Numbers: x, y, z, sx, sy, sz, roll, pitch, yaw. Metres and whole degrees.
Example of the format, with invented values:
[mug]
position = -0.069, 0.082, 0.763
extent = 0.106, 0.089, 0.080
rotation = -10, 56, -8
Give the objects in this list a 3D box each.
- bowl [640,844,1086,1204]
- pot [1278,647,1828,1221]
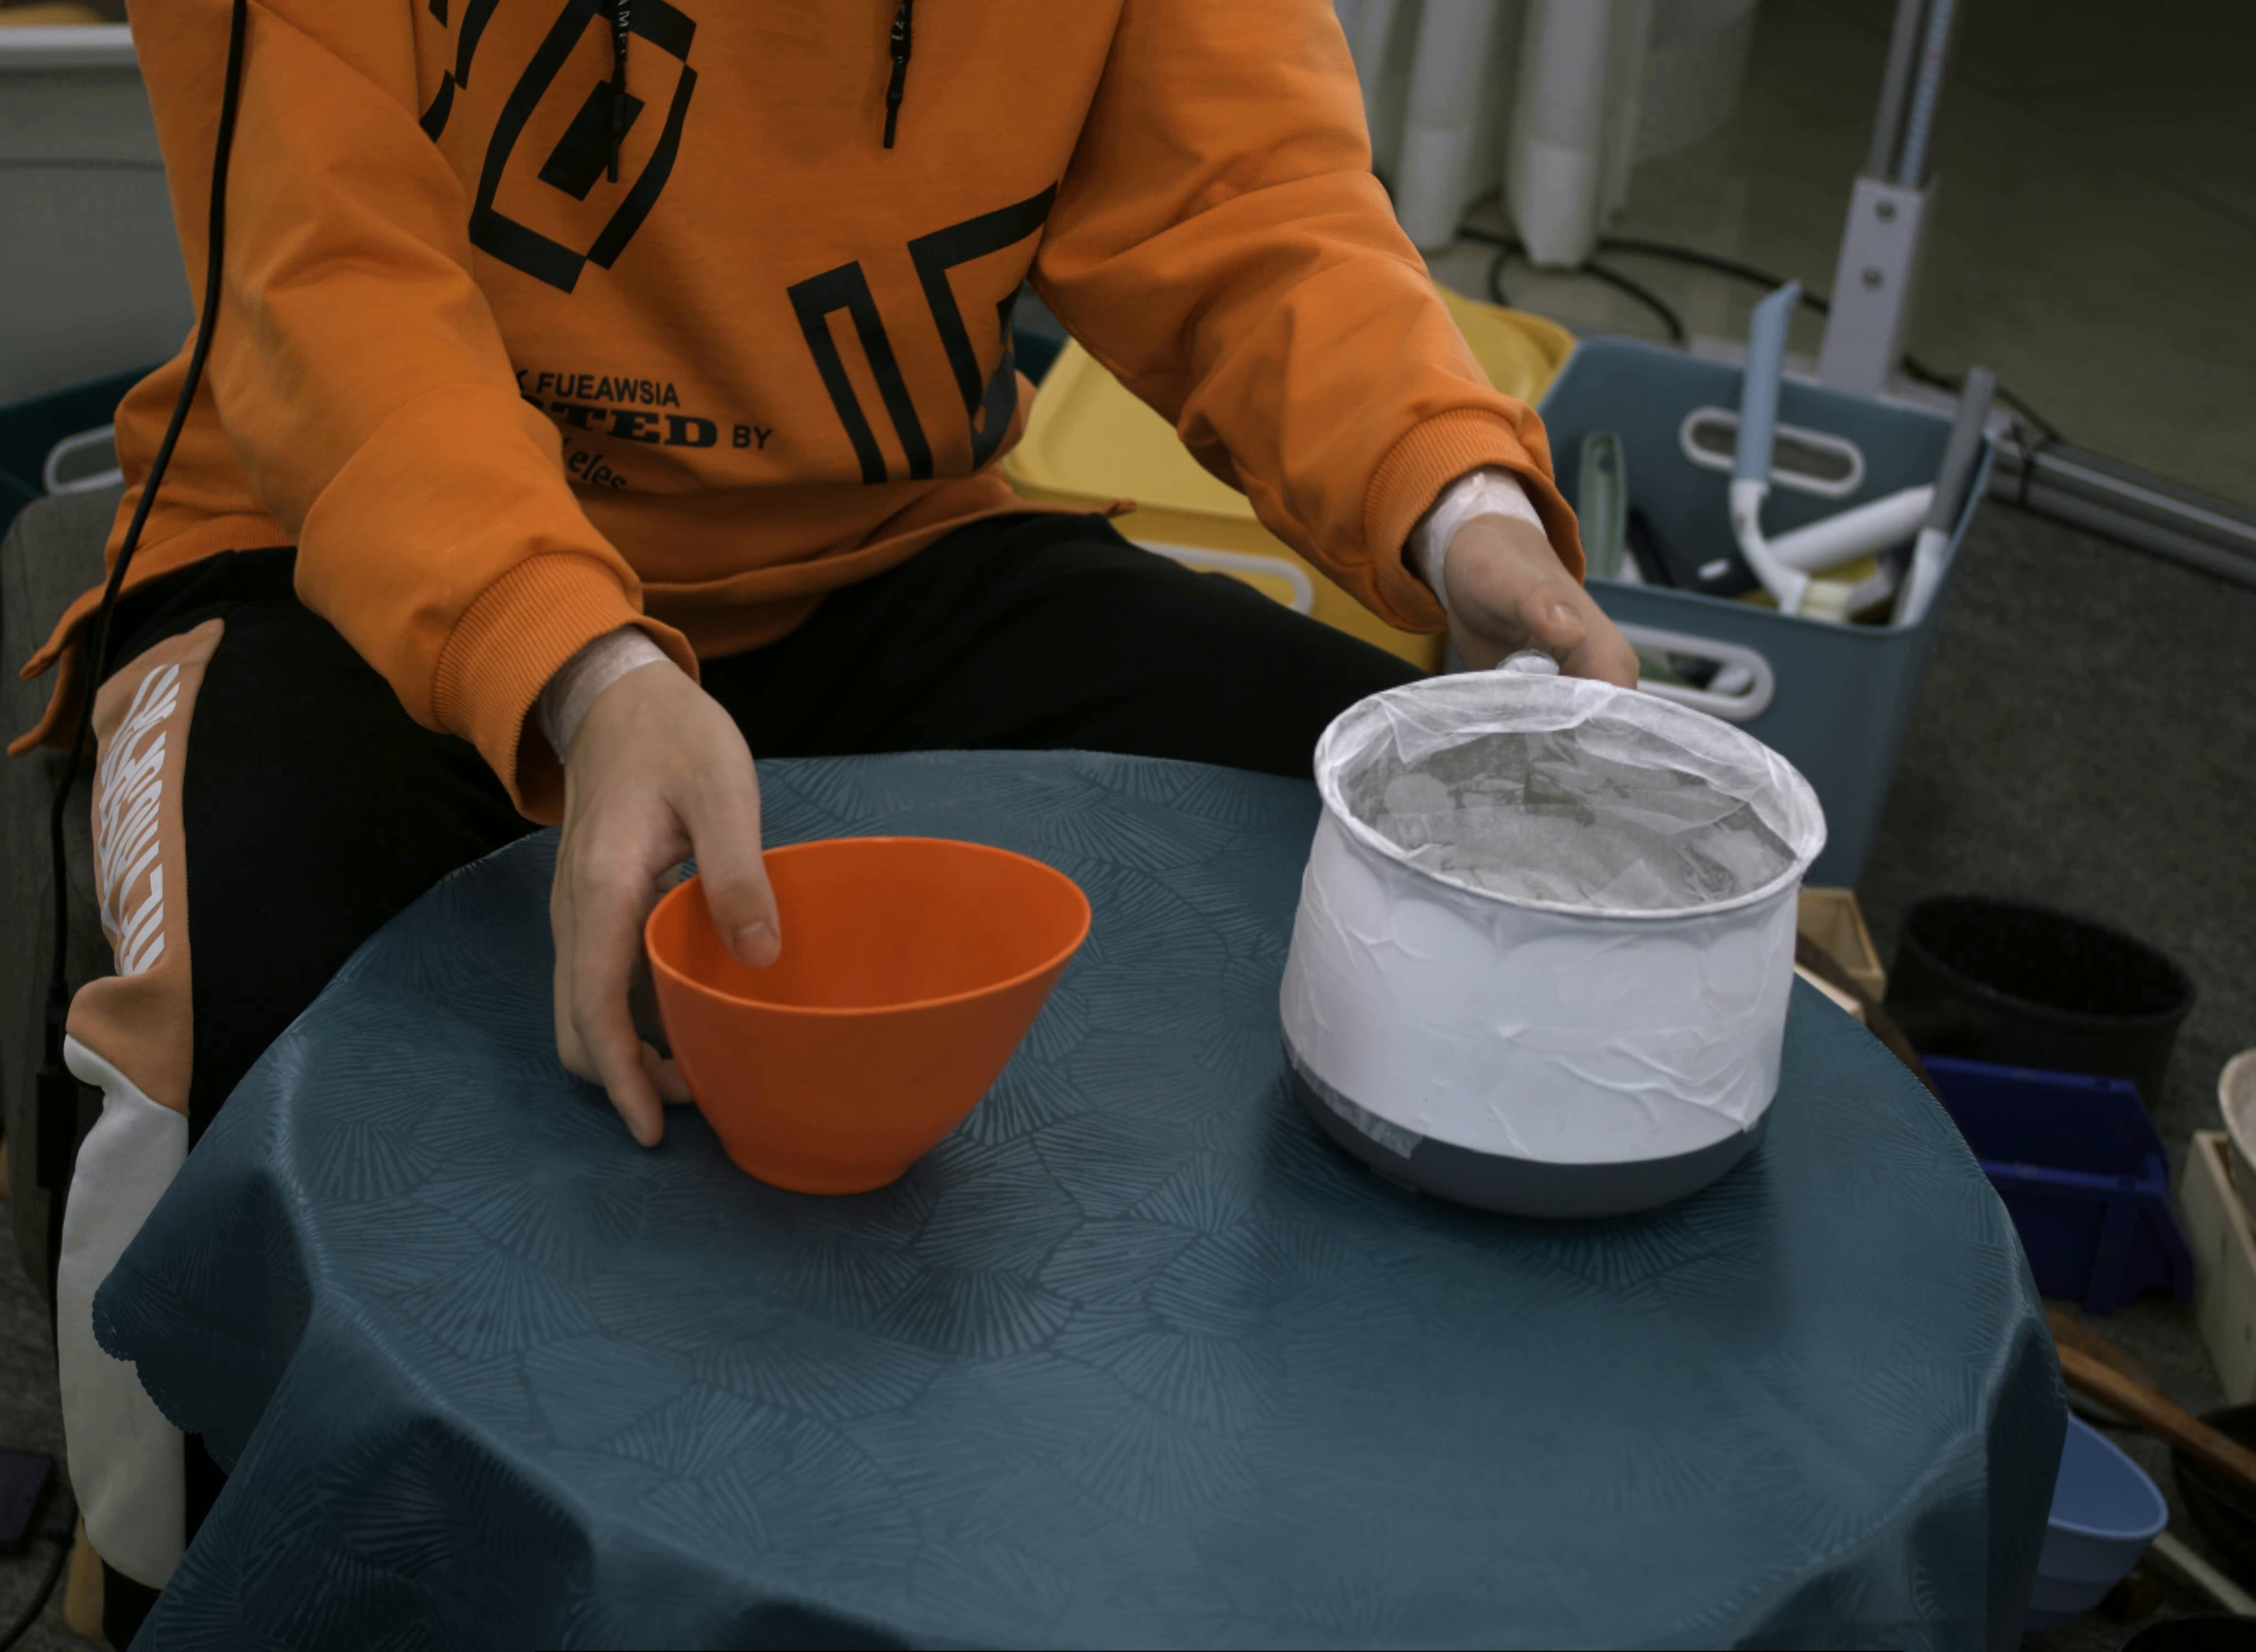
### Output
[bowl]
position = -0.092, 0.070, 1.782
extent = 0.147, 0.104, 0.149
rotation = 5, 26, -3
[pot]
position = 0.141, 0.030, 1.866
extent = 0.178, 0.136, 0.235
rotation = 4, 27, -7
